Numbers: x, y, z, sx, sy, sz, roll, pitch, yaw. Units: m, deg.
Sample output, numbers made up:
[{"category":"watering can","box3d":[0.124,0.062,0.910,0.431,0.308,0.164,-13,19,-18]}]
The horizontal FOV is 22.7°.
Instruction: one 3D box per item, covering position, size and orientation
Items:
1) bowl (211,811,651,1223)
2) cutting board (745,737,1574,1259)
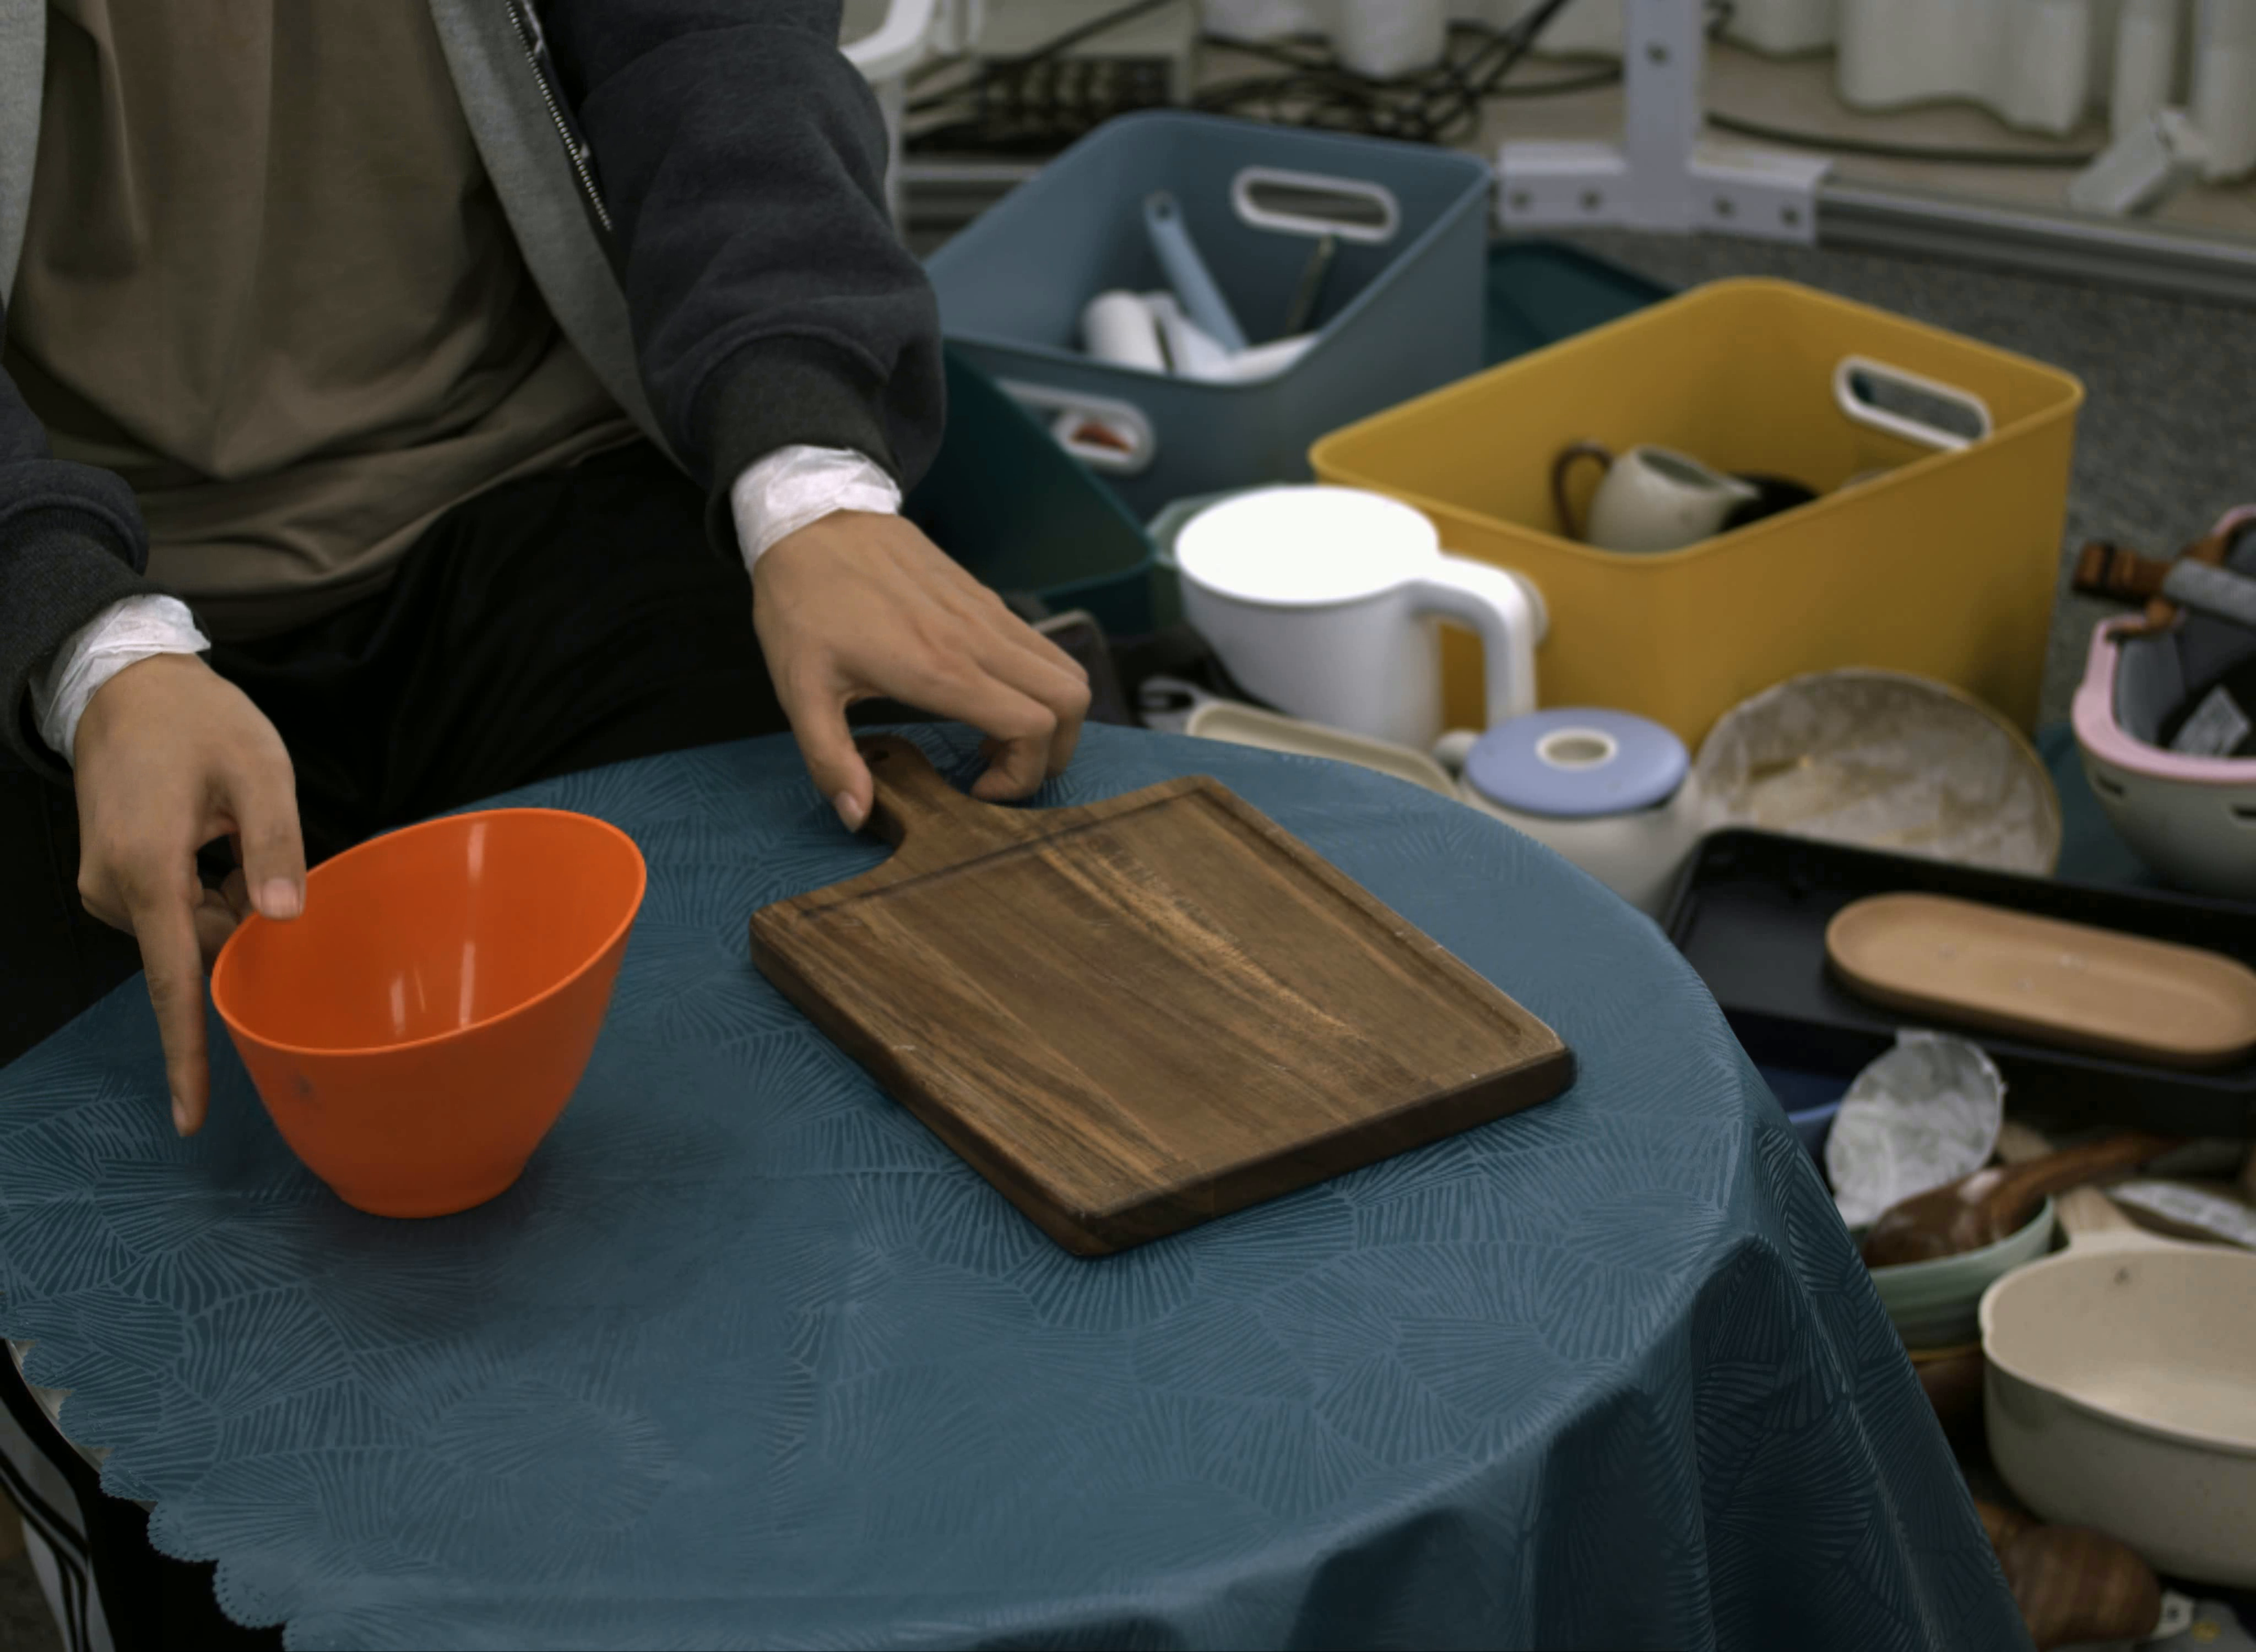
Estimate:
[{"category":"bowl","box3d":[-0.228,0.071,1.874,0.147,0.103,0.150,-2,28,1]},{"category":"cutting board","box3d":[-0.017,0.042,1.996,0.202,0.023,0.353,-17,30,-25]}]
